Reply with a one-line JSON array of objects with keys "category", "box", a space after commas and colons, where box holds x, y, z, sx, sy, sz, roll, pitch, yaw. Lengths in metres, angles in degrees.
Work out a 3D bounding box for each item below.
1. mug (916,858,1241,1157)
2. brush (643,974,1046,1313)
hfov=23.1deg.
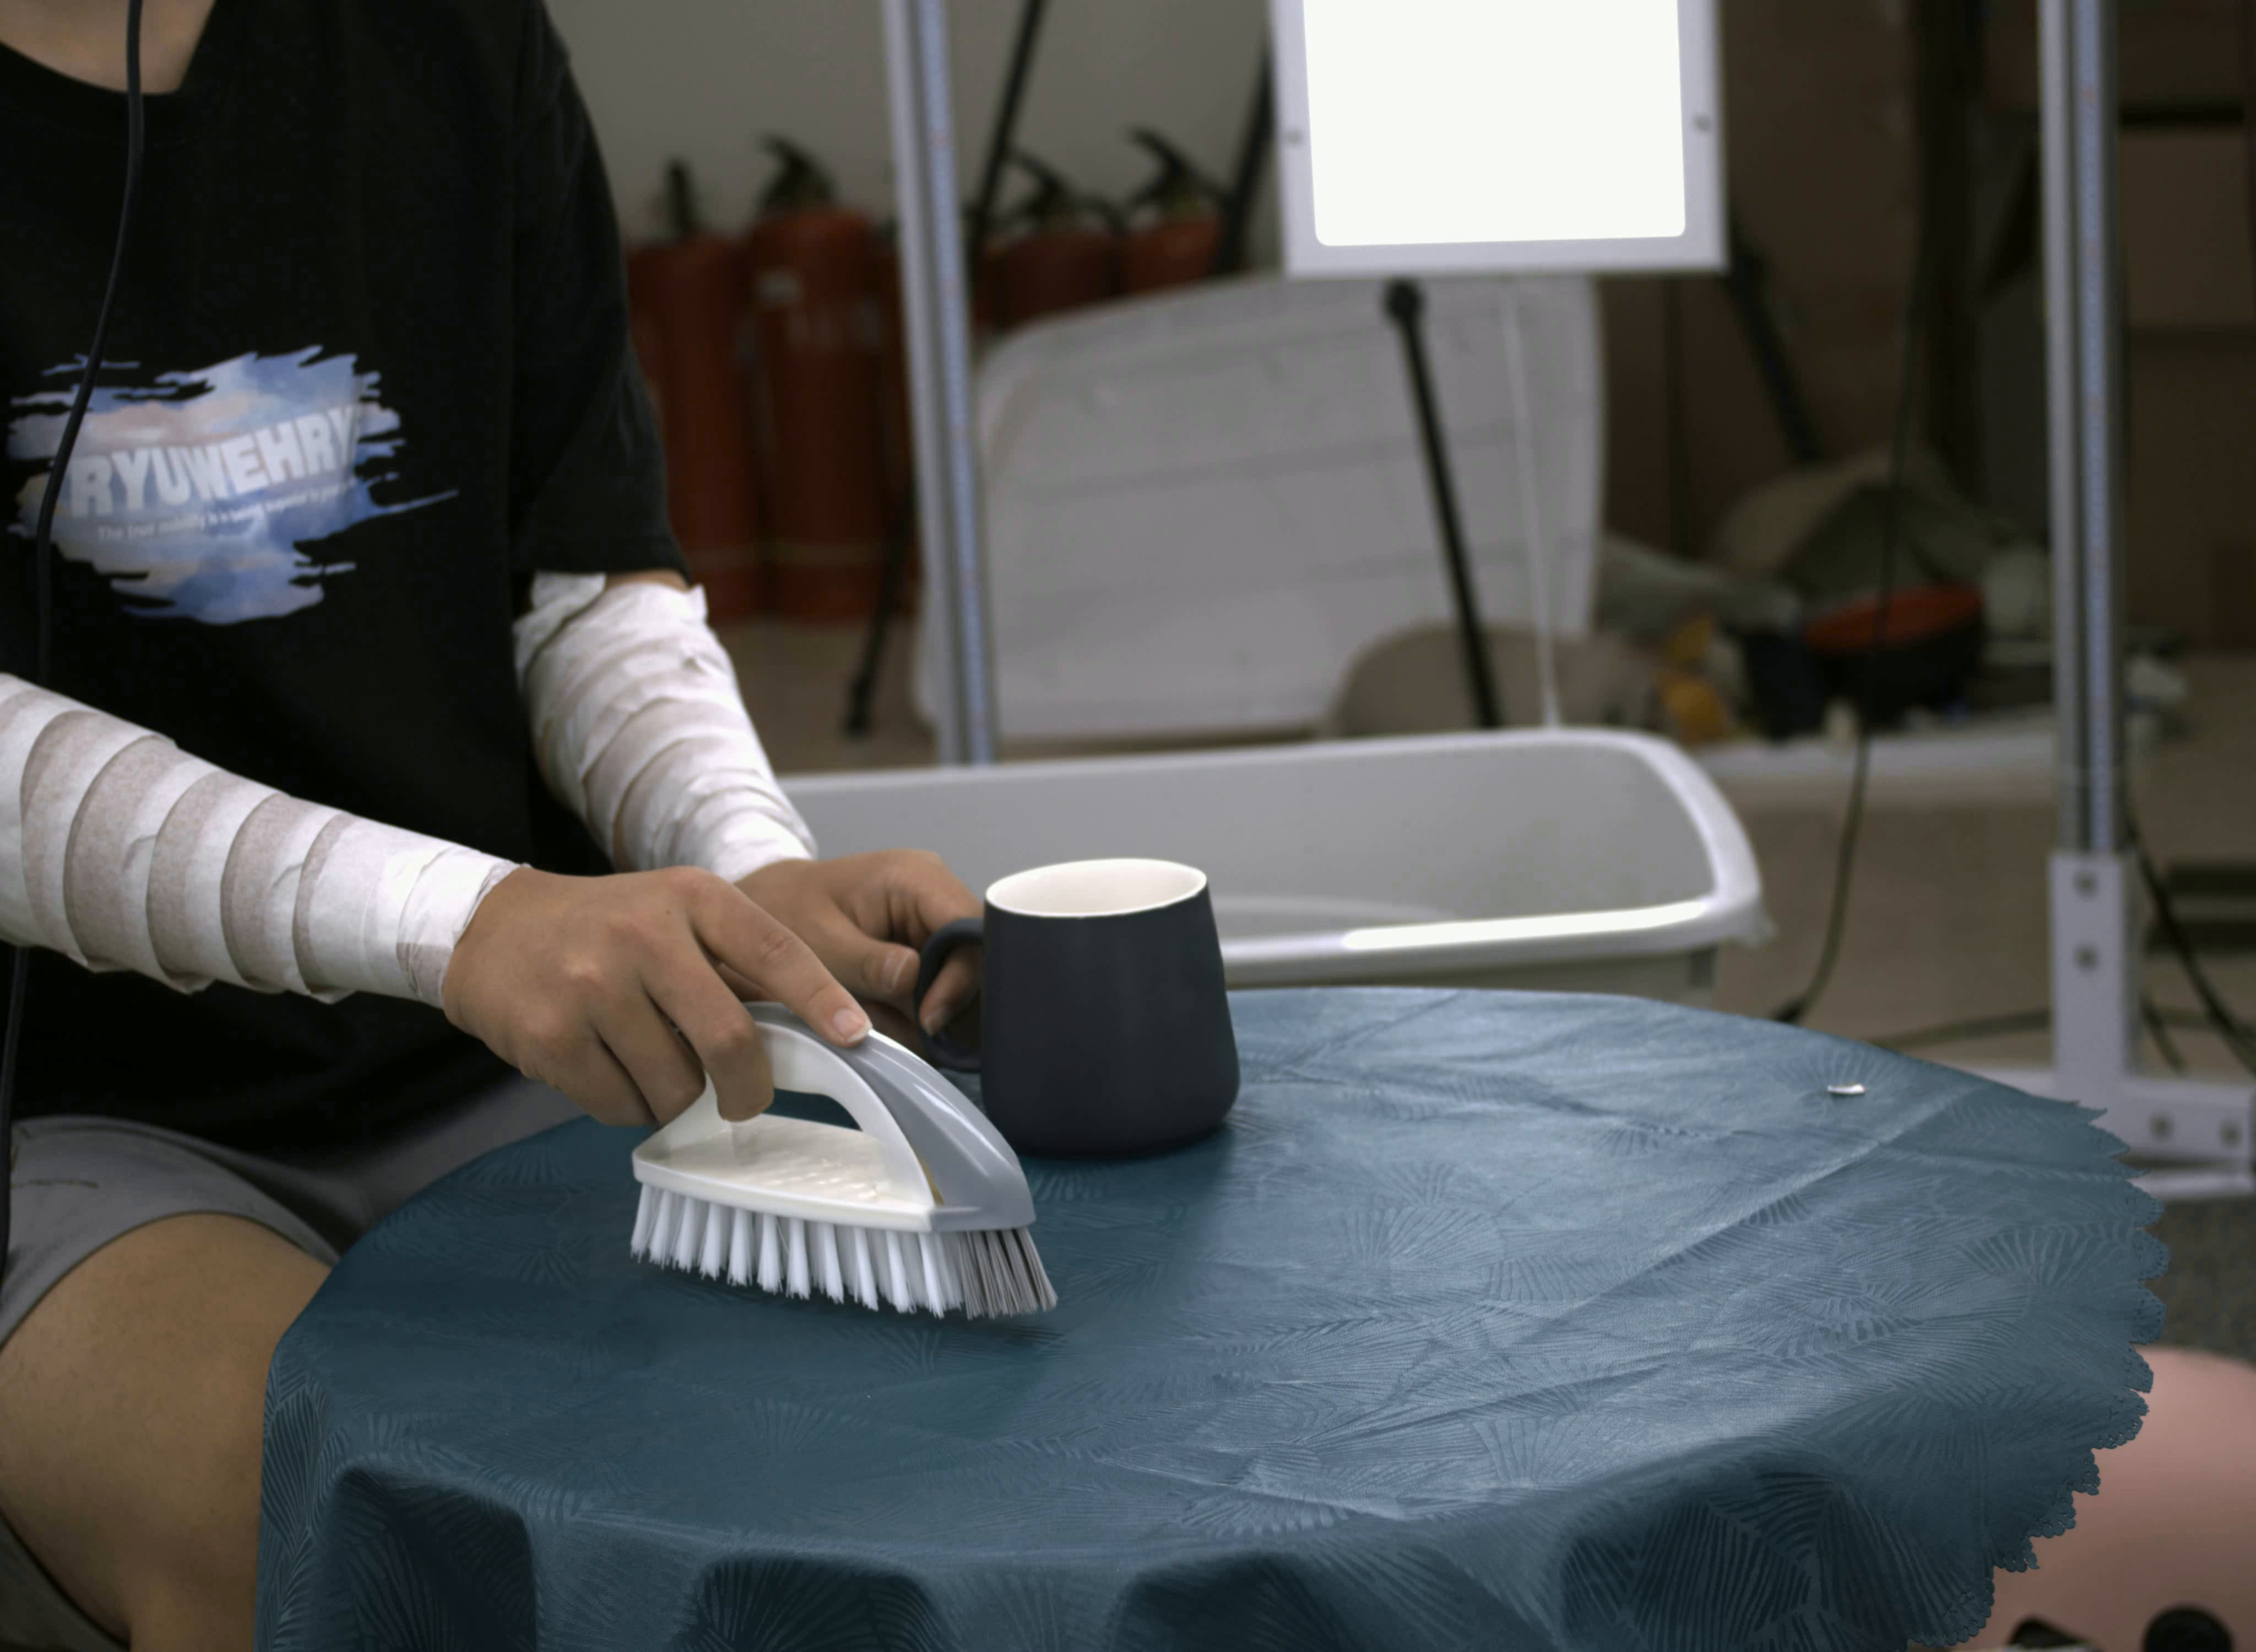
[{"category": "mug", "box": [-0.021, 0.064, 1.973, 0.125, 0.090, 0.091, 3, 17, 31]}, {"category": "brush", "box": [-0.091, 0.100, 1.804, 0.060, 0.094, 0.179, -20, 24, -39]}]
